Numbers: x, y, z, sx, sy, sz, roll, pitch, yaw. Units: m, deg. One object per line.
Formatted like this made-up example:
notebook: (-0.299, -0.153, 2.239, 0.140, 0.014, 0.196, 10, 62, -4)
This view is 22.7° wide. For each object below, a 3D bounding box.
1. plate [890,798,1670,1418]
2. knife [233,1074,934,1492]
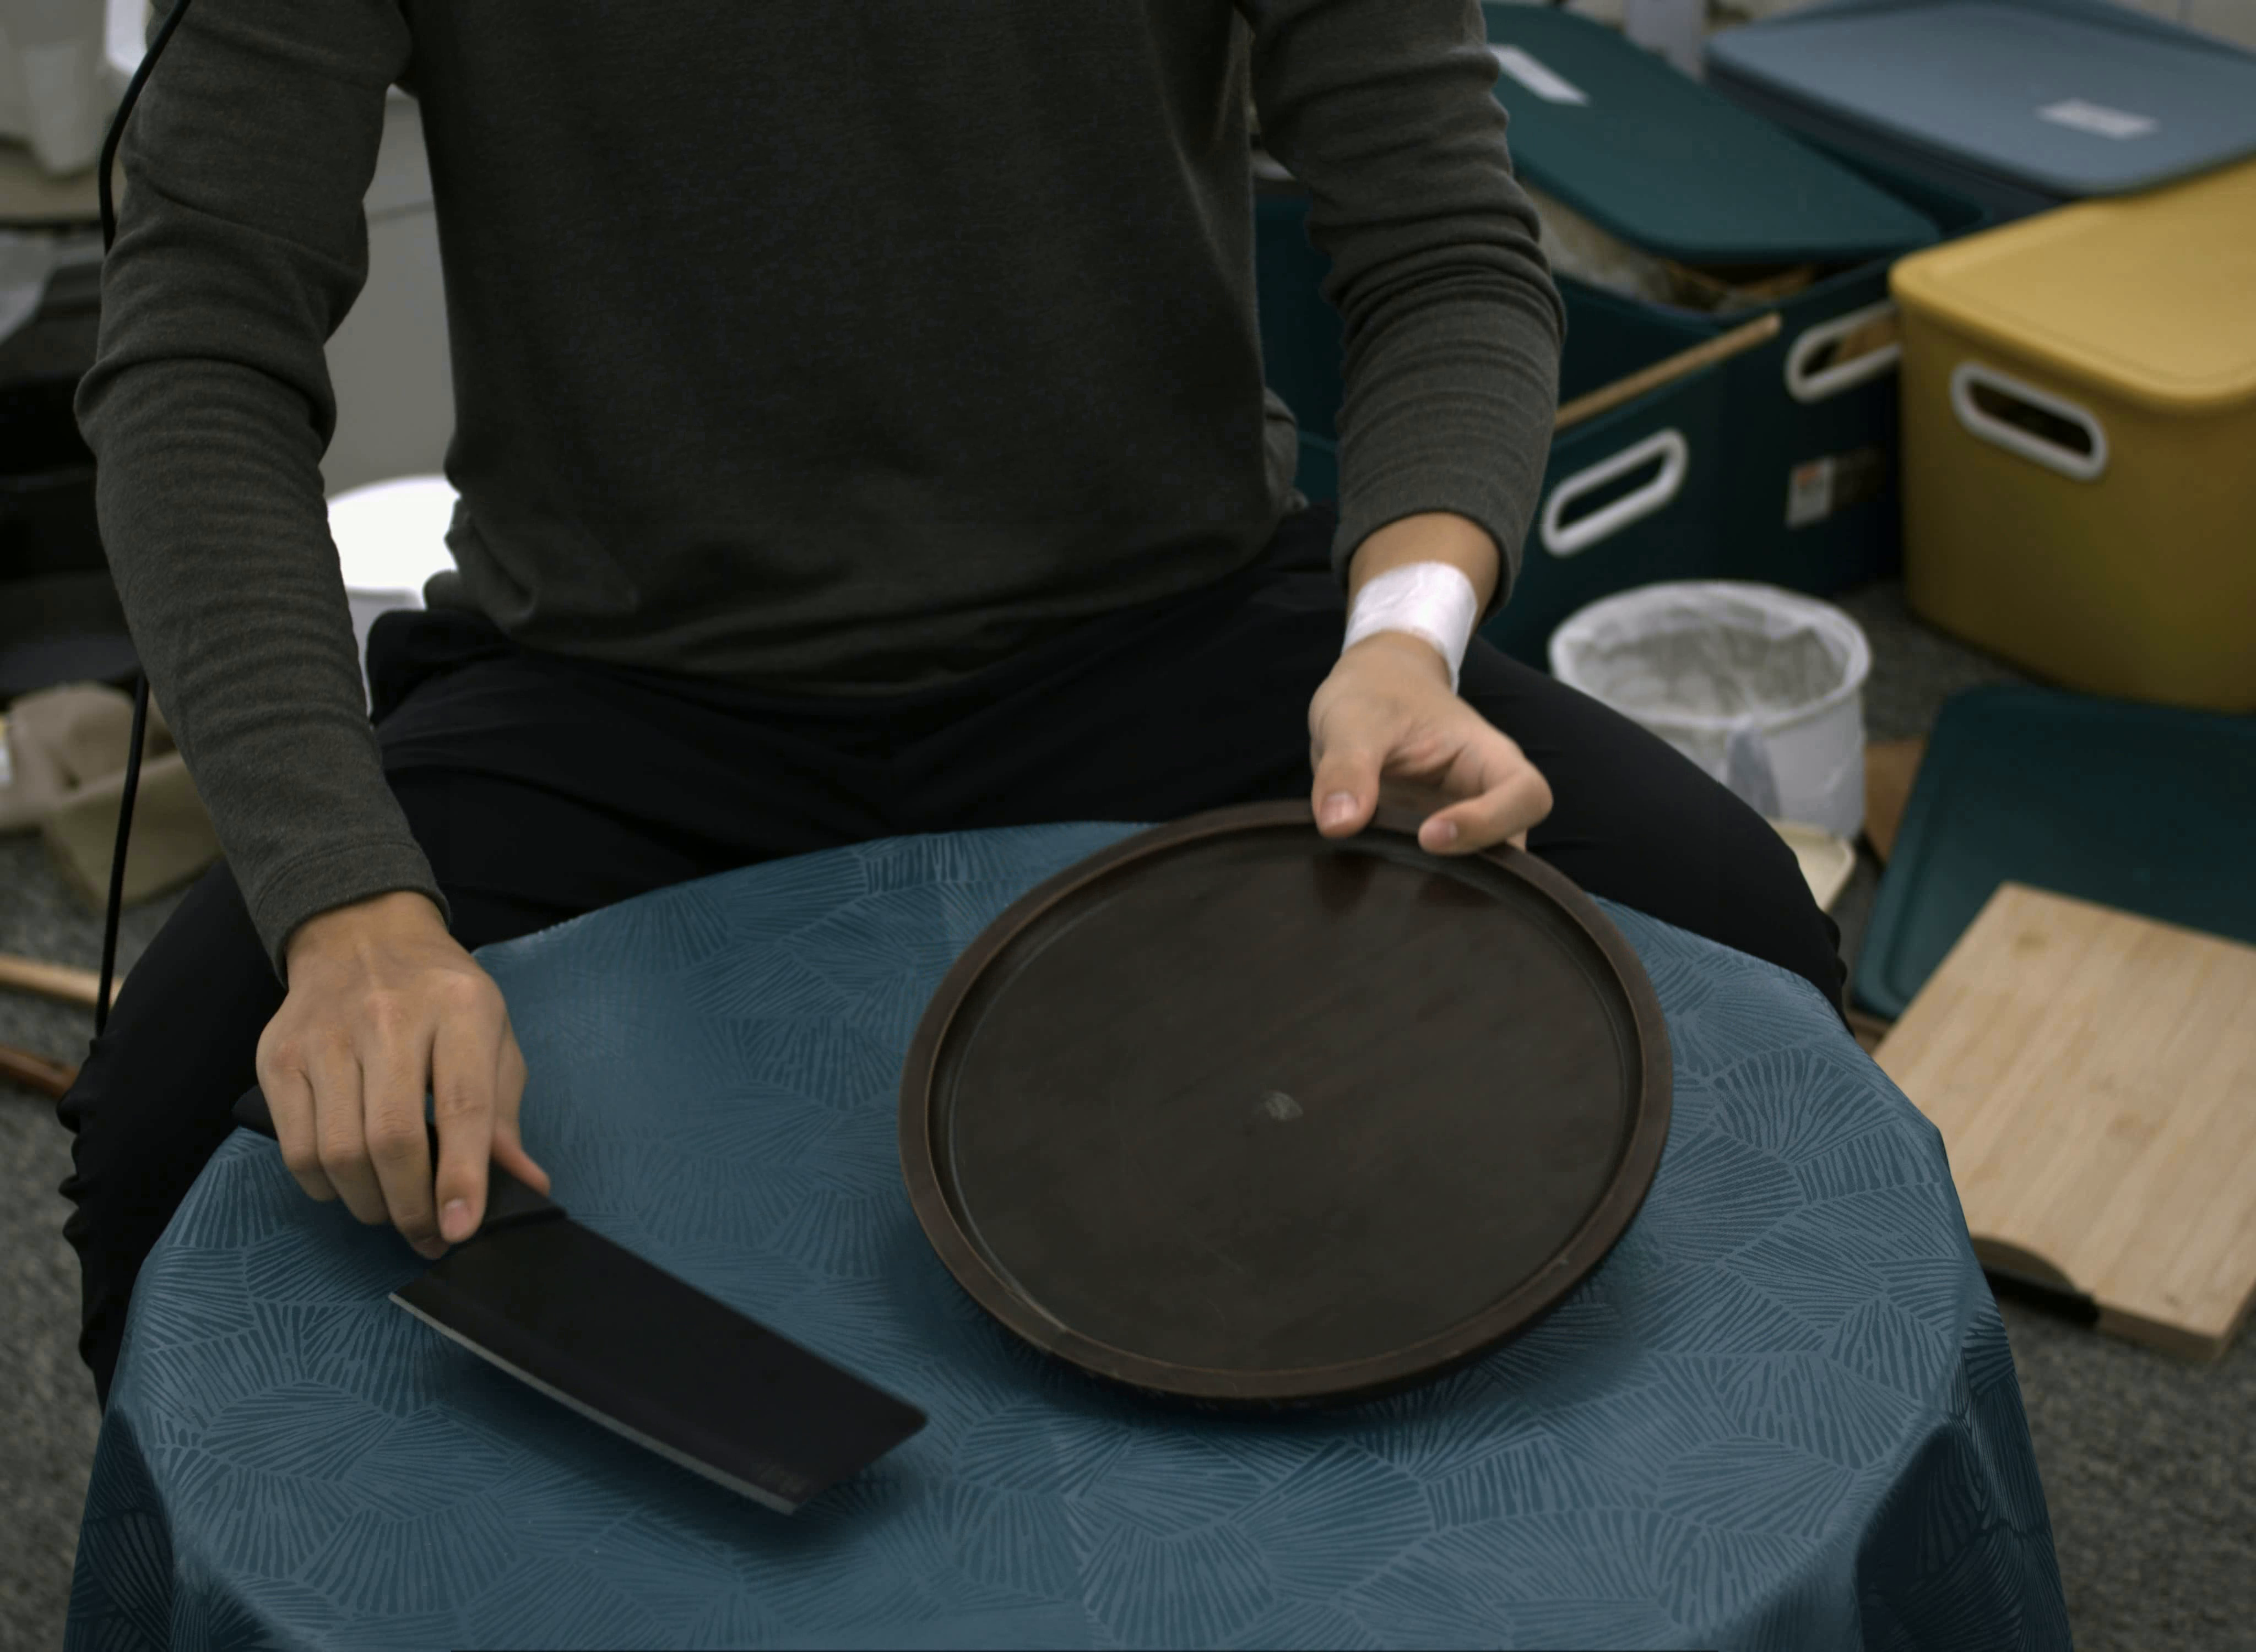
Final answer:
plate: (0.049, 0.089, 1.816, 0.253, 0.028, 0.260, -4, 47, 5)
knife: (-0.185, 0.142, 1.779, 0.082, 0.020, 0.302, -25, 37, -36)
